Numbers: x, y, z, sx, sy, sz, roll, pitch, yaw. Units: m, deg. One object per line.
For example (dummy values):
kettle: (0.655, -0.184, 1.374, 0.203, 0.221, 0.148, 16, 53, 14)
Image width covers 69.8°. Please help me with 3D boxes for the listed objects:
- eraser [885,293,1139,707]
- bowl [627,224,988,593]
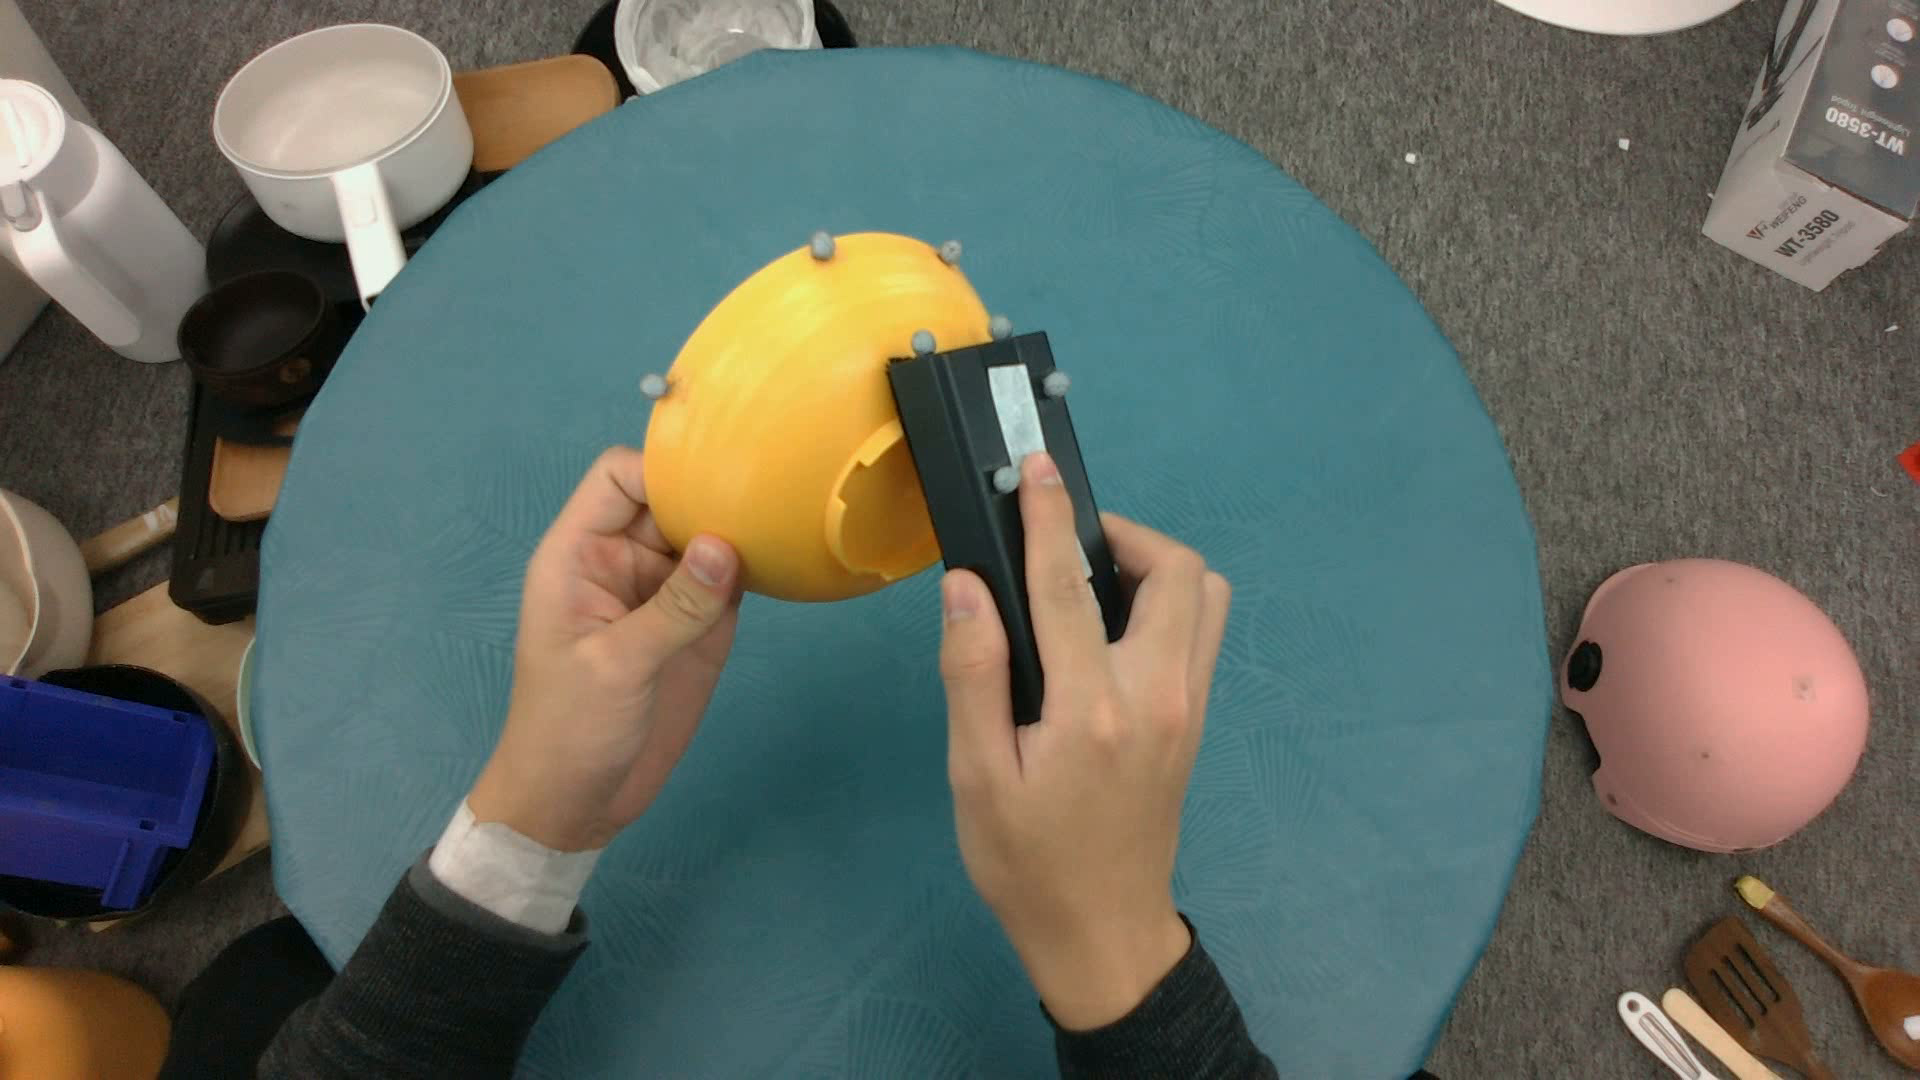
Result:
eraser: (0.018, -0.013, 0.445, 0.054, 0.030, 0.125, -21, 97, -39)
bowl: (-0.036, -0.031, 0.478, 0.145, 0.145, 0.060, -32, 50, -15)
